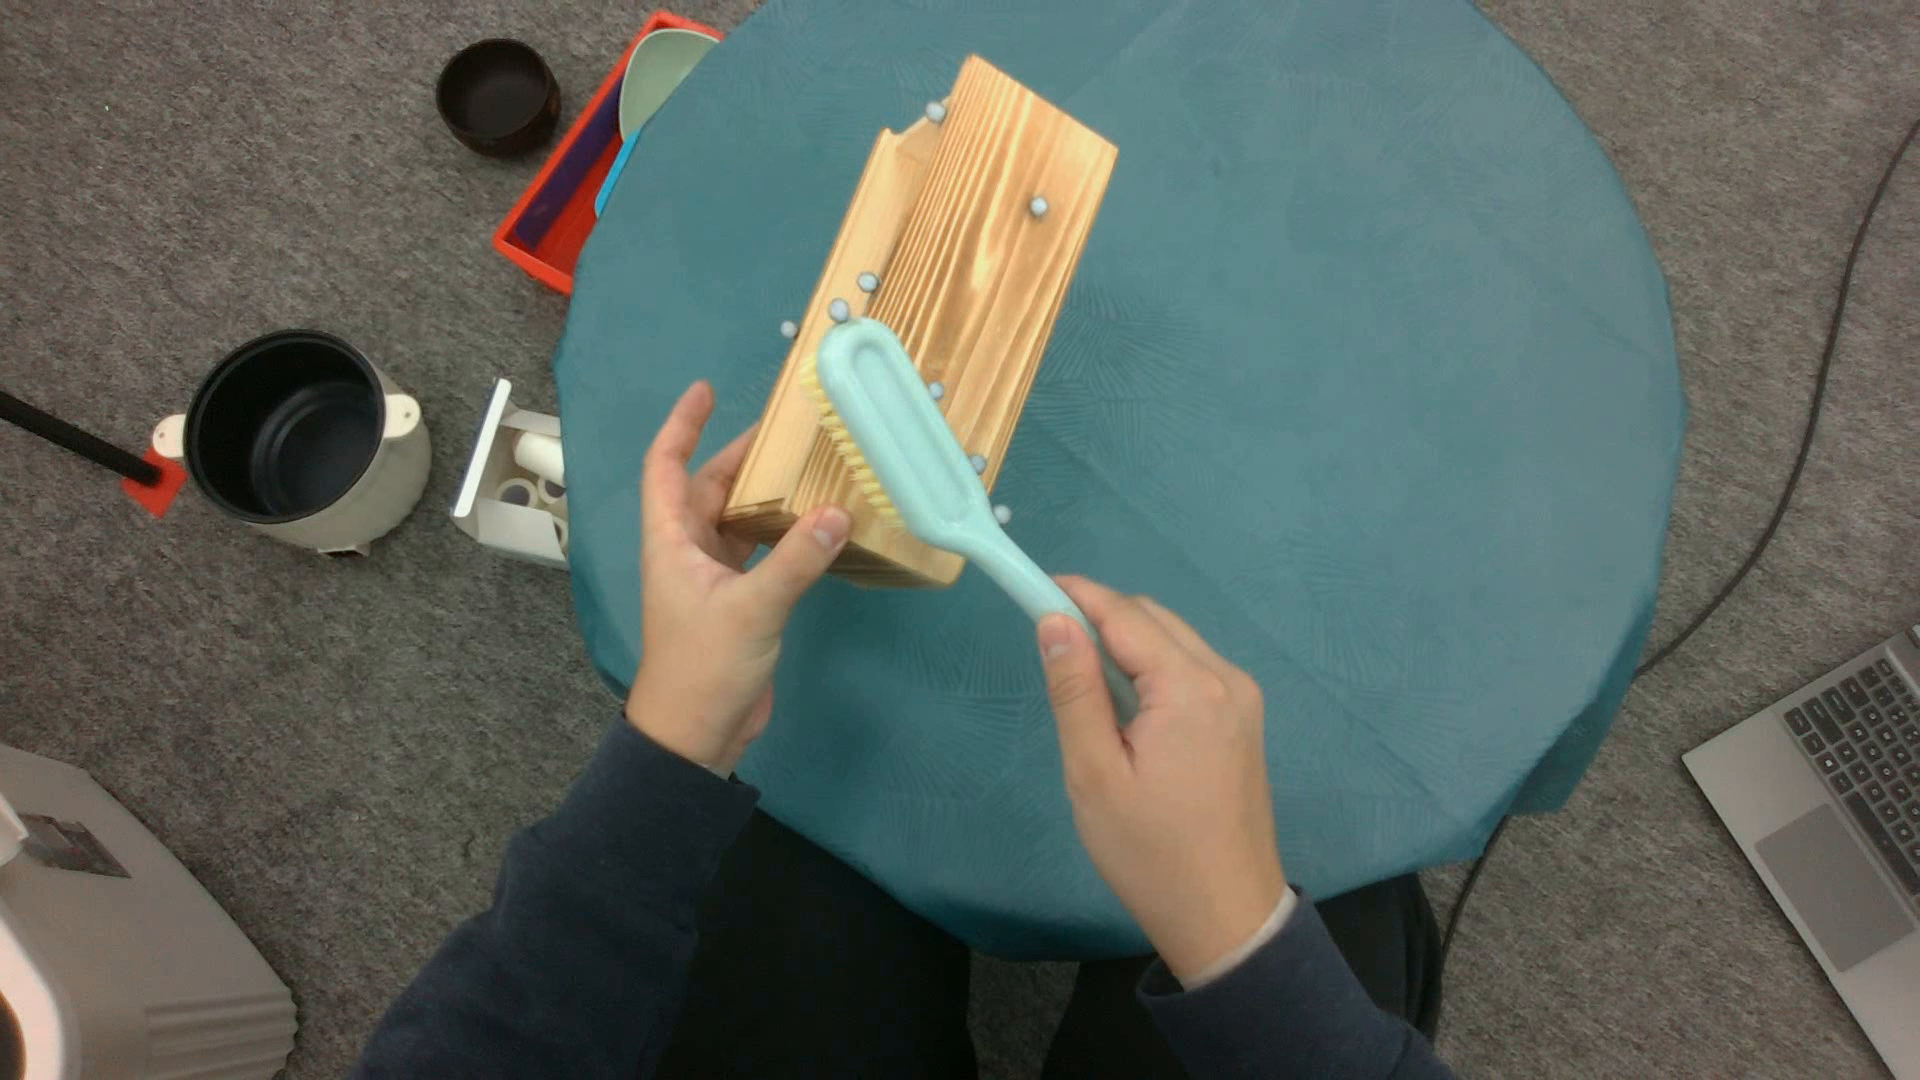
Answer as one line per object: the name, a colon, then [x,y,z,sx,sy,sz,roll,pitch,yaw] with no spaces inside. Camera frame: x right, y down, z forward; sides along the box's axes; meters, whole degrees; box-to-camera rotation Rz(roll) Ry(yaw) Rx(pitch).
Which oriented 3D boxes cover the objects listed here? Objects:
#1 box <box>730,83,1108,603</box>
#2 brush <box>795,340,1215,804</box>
box: [-0.021,-0.083,0.634,0.080,0.107,0.212,24,77,-20]
brush: [0.021,0.017,0.541,0.228,0.049,0.038,47,58,-5]
